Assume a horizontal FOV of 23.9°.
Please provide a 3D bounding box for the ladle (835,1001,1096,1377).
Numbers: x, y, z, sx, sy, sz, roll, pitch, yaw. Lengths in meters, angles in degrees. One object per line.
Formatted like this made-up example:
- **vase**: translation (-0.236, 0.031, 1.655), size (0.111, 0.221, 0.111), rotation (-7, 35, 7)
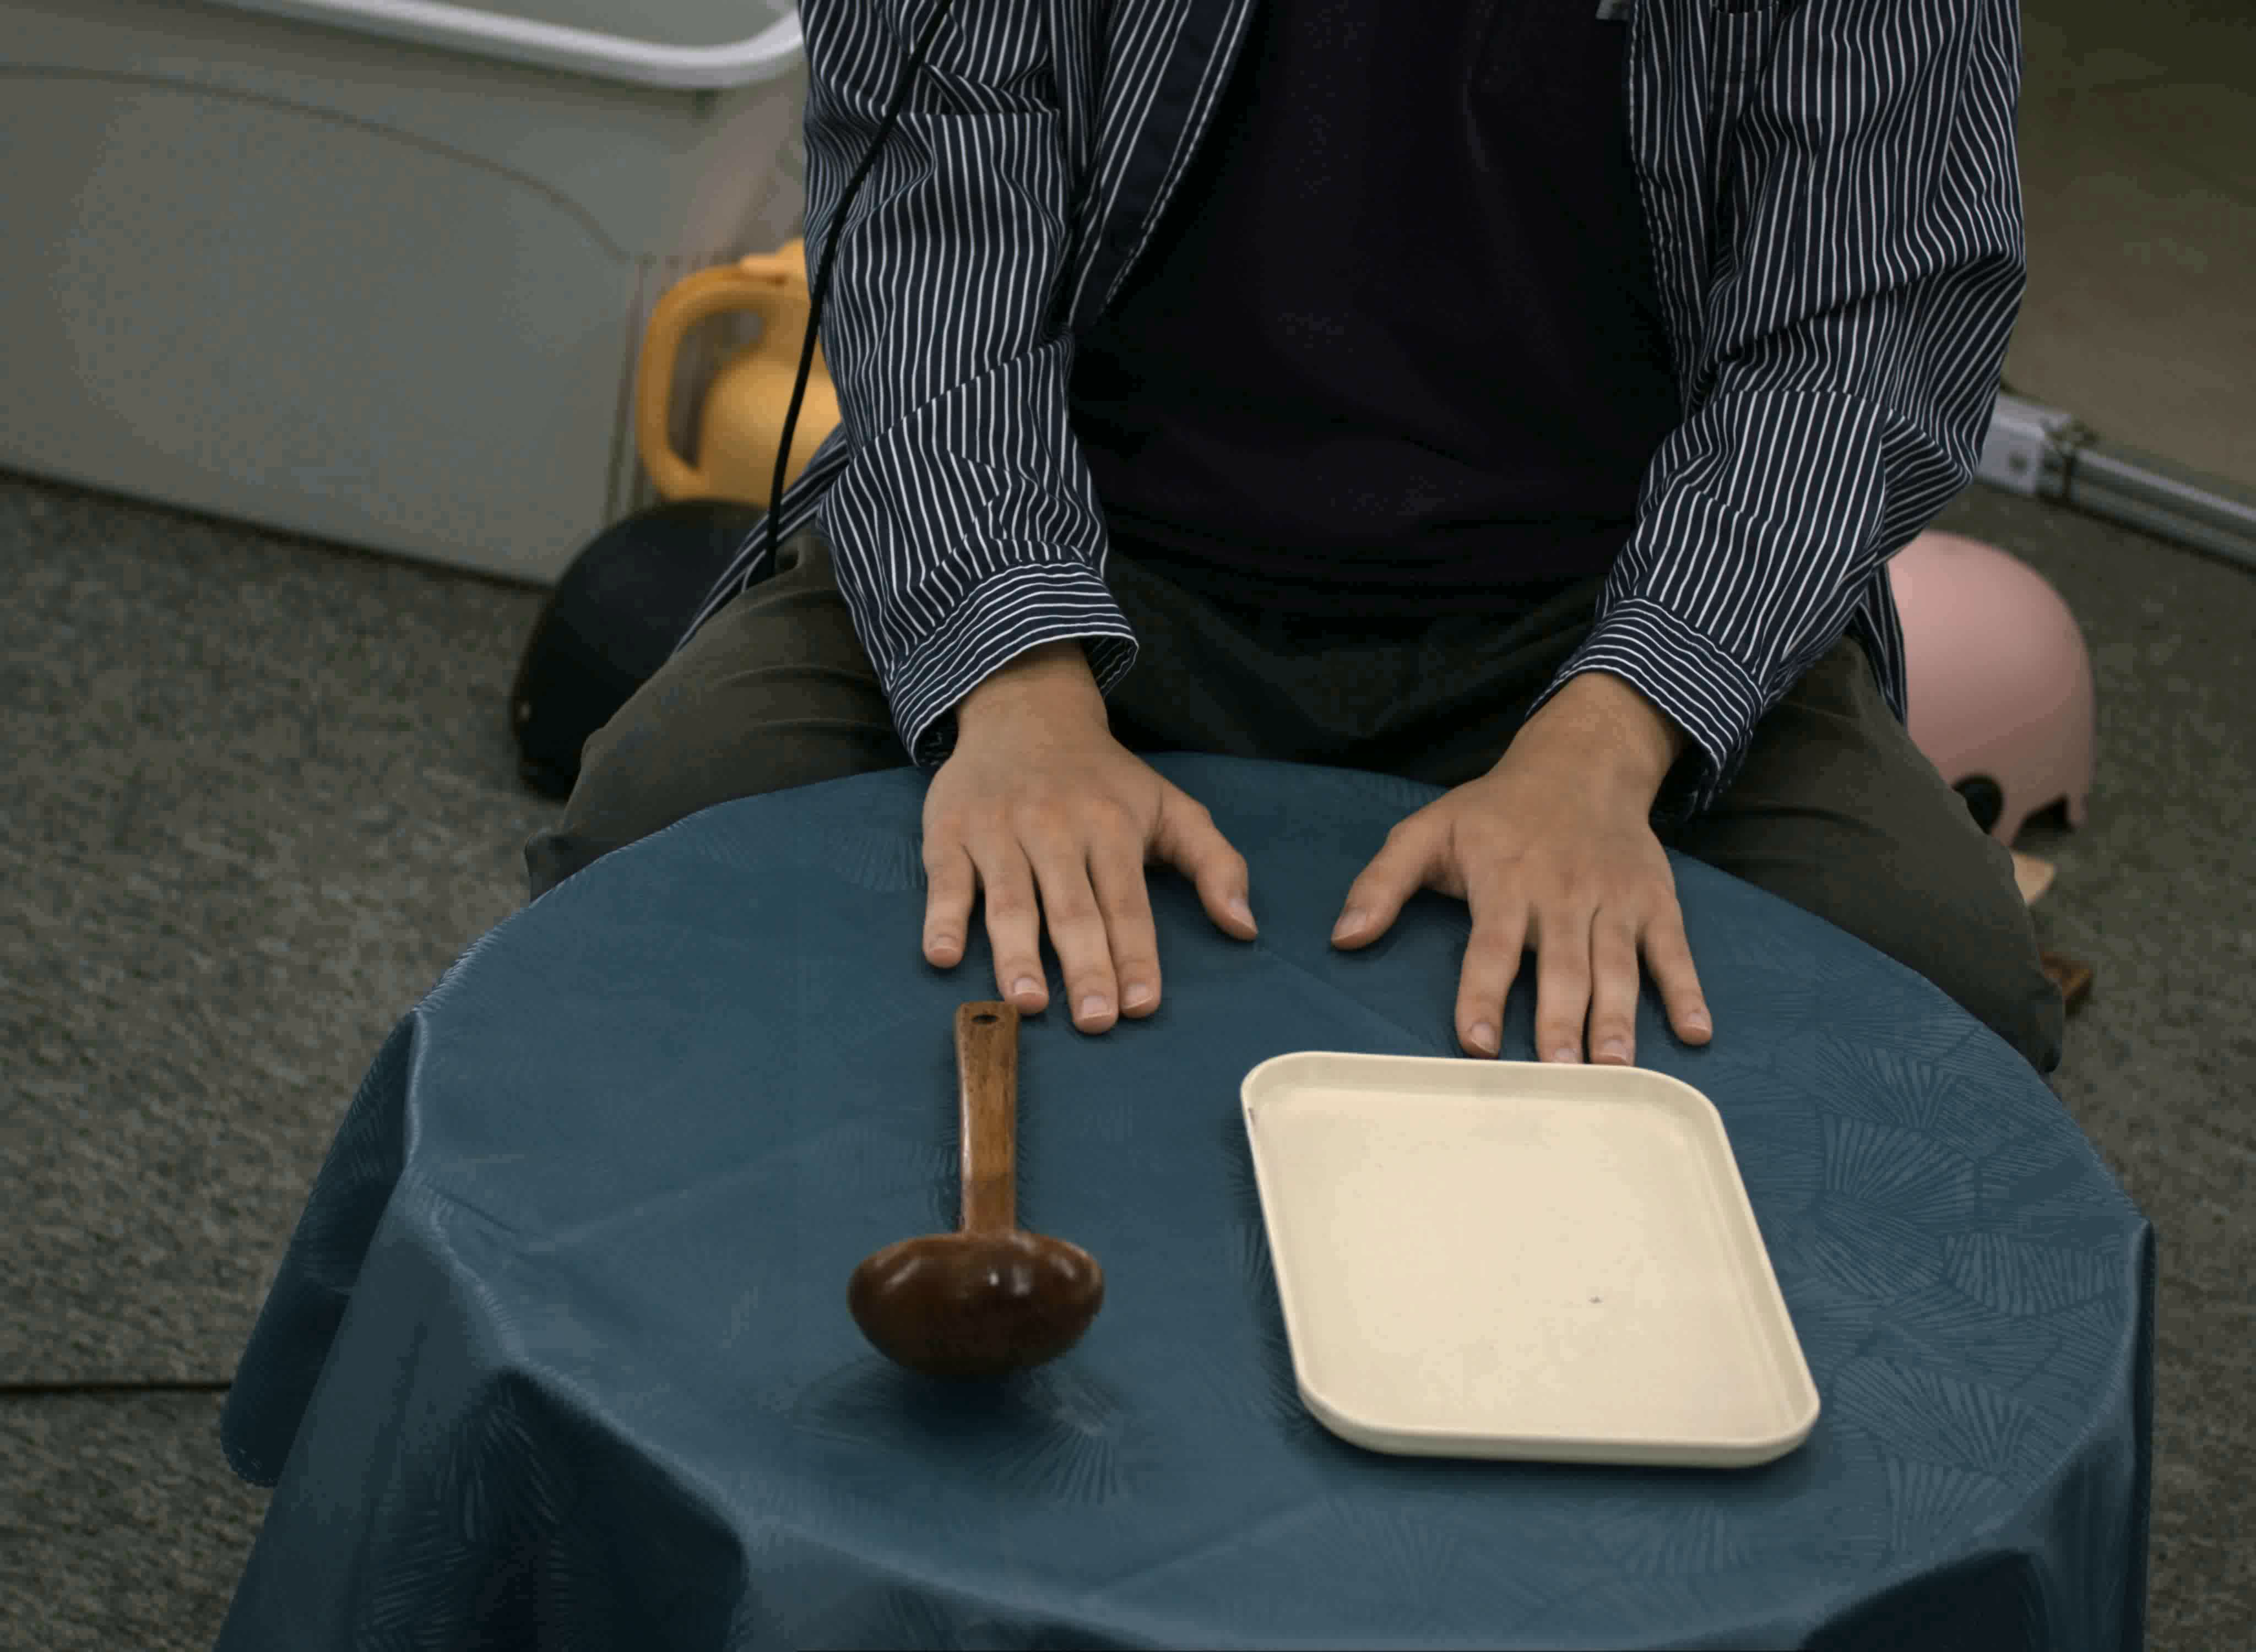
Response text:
- **ladle**: translation (-0.048, 0.099, 1.752), size (0.082, 0.076, 0.275), rotation (2, 27, 1)

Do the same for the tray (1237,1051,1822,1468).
- **tray**: translation (0.129, 0.143, 1.768), size (0.170, 0.017, 0.241), rotation (3, 26, -7)
